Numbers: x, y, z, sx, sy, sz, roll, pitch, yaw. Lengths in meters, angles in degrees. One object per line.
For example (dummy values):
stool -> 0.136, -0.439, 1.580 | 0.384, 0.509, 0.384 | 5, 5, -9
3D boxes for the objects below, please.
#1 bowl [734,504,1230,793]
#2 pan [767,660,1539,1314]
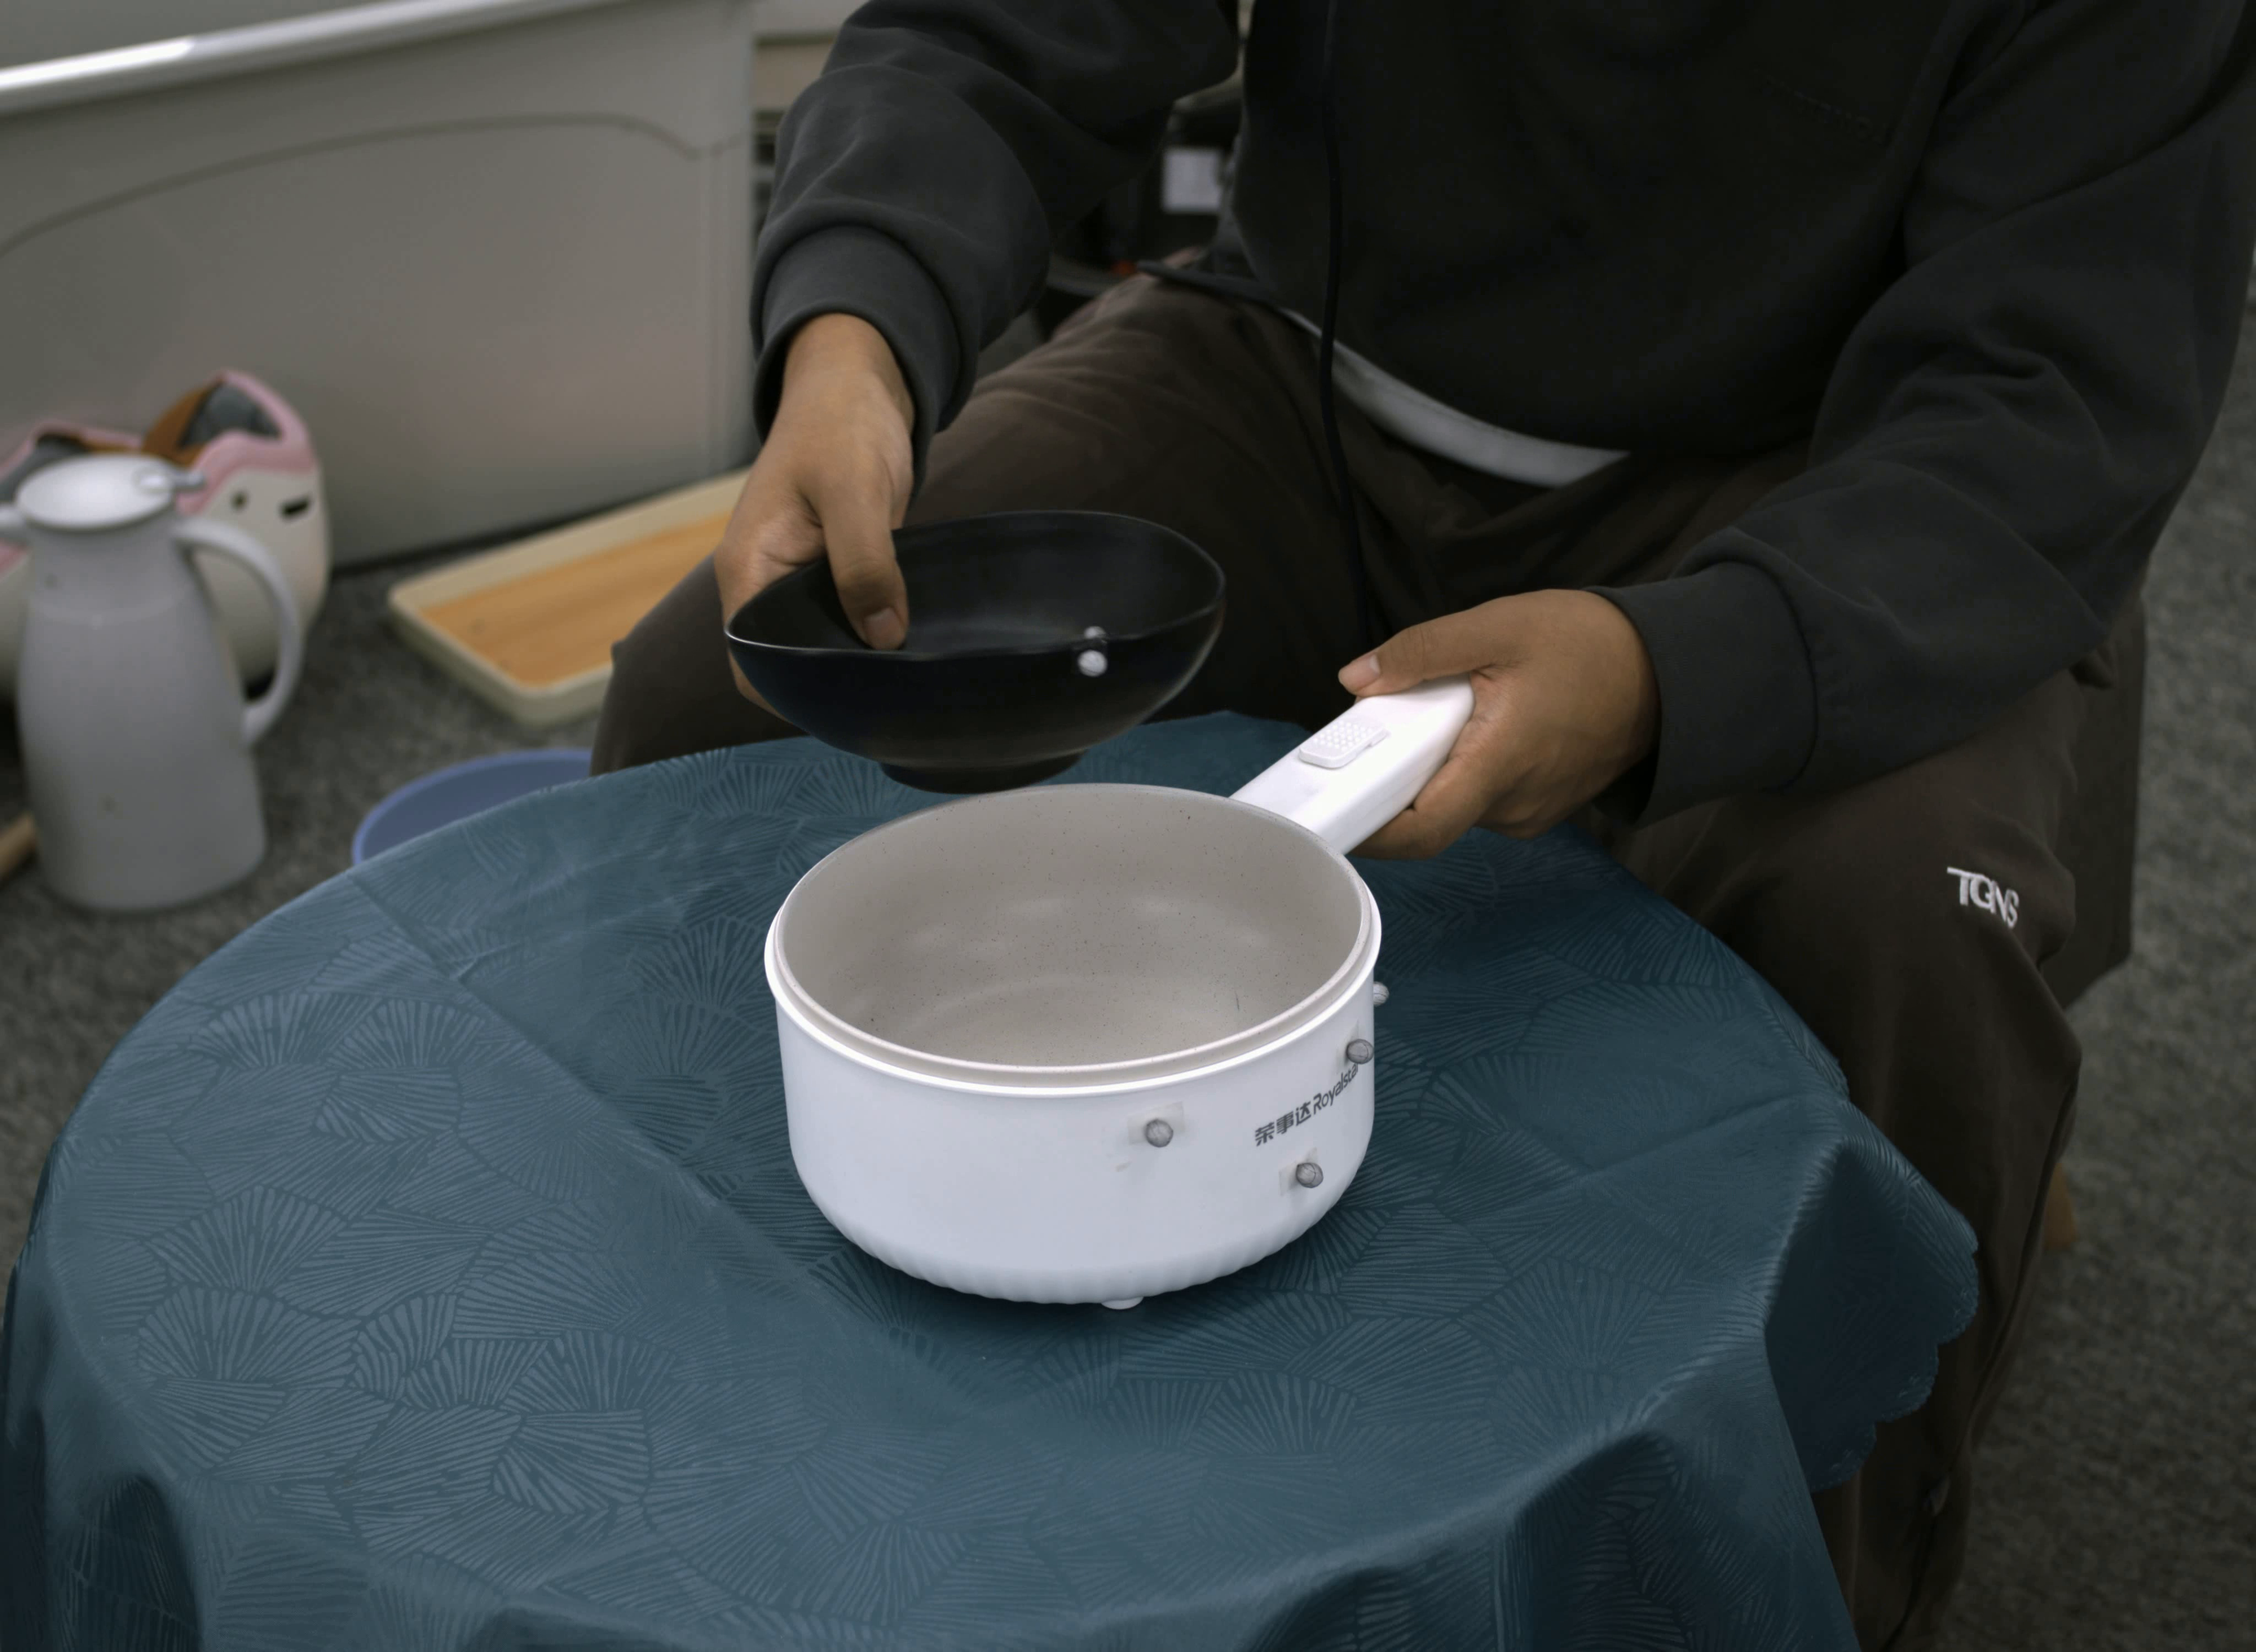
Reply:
bowl -> -0.047, -0.052, 1.847 | 0.169, 0.066, 0.139 | -1, 22, 16
pan -> 0.029, 0.050, 1.906 | 0.200, 0.101, 0.360 | 14, 29, 32
